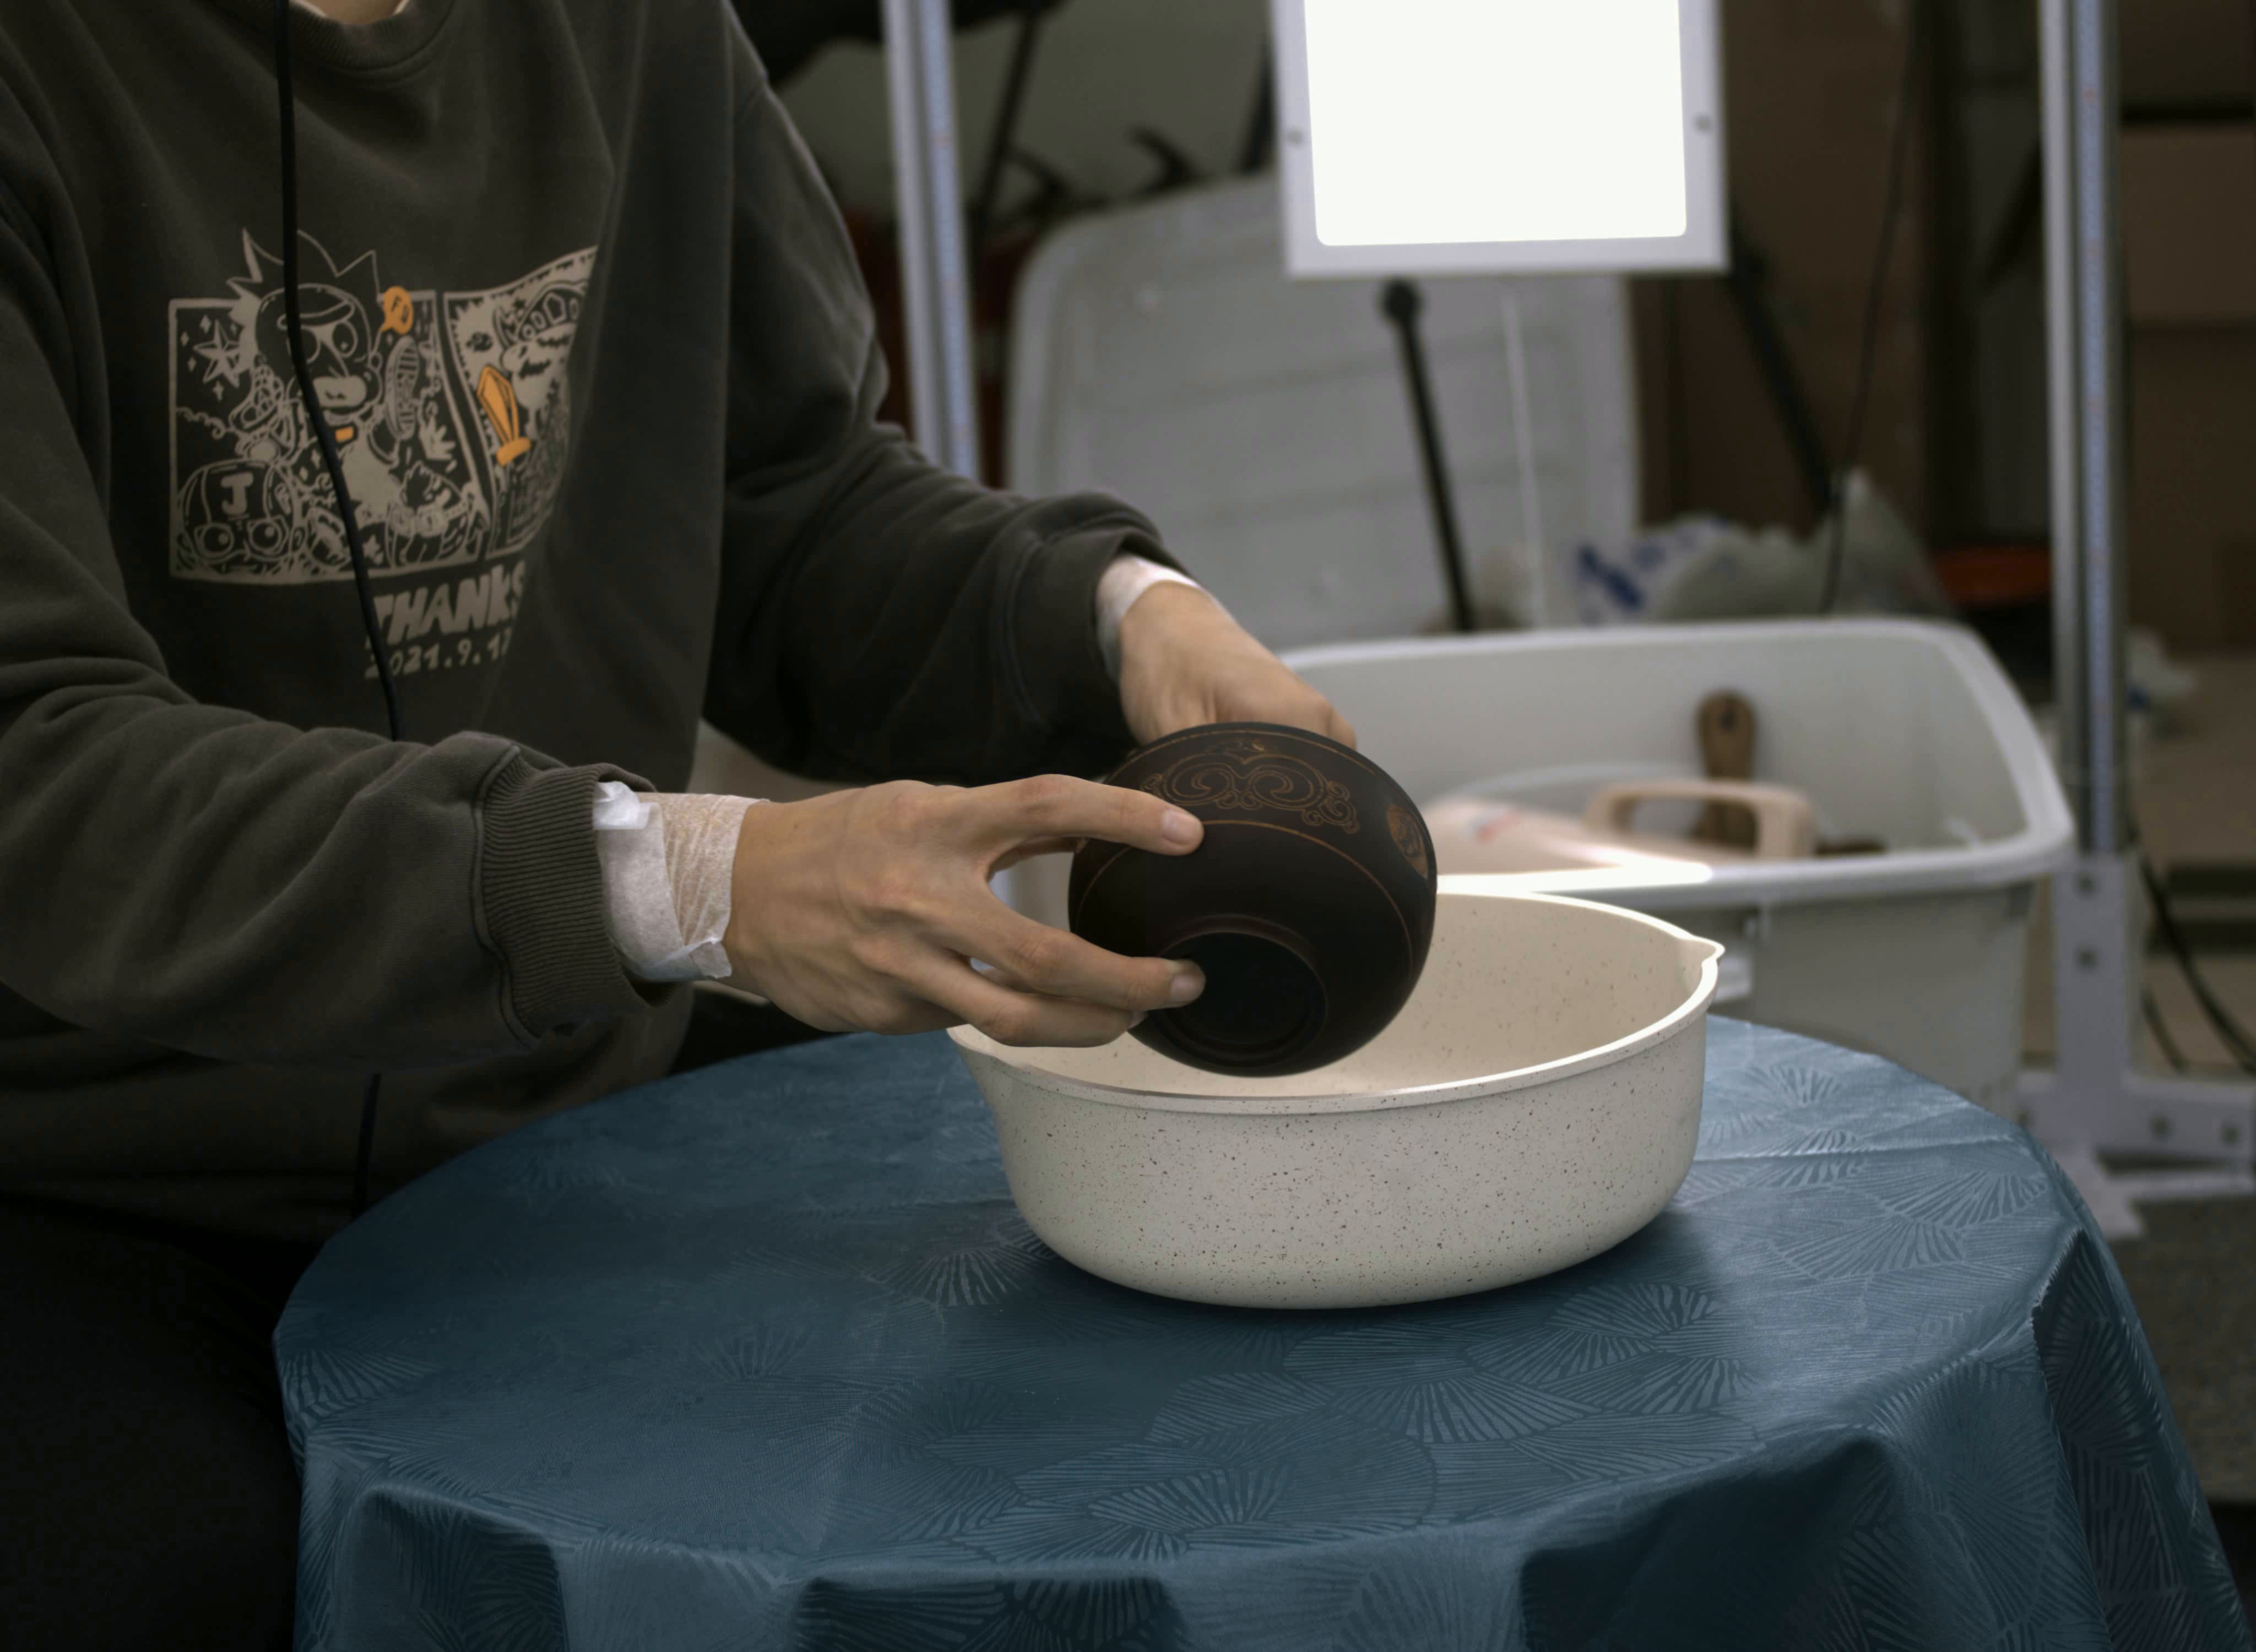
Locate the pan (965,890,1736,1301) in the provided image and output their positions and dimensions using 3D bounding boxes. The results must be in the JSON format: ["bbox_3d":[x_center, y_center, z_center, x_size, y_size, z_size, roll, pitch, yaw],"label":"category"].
[{"bbox_3d":[0.065,0.064,1.923,0.261,0.102,0.436,-8,13,-6],"label":"pan"}]

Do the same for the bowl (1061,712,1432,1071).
[{"bbox_3d":[0.036,0.030,1.722,0.119,0.118,0.069,-2,41,11],"label":"bowl"}]
